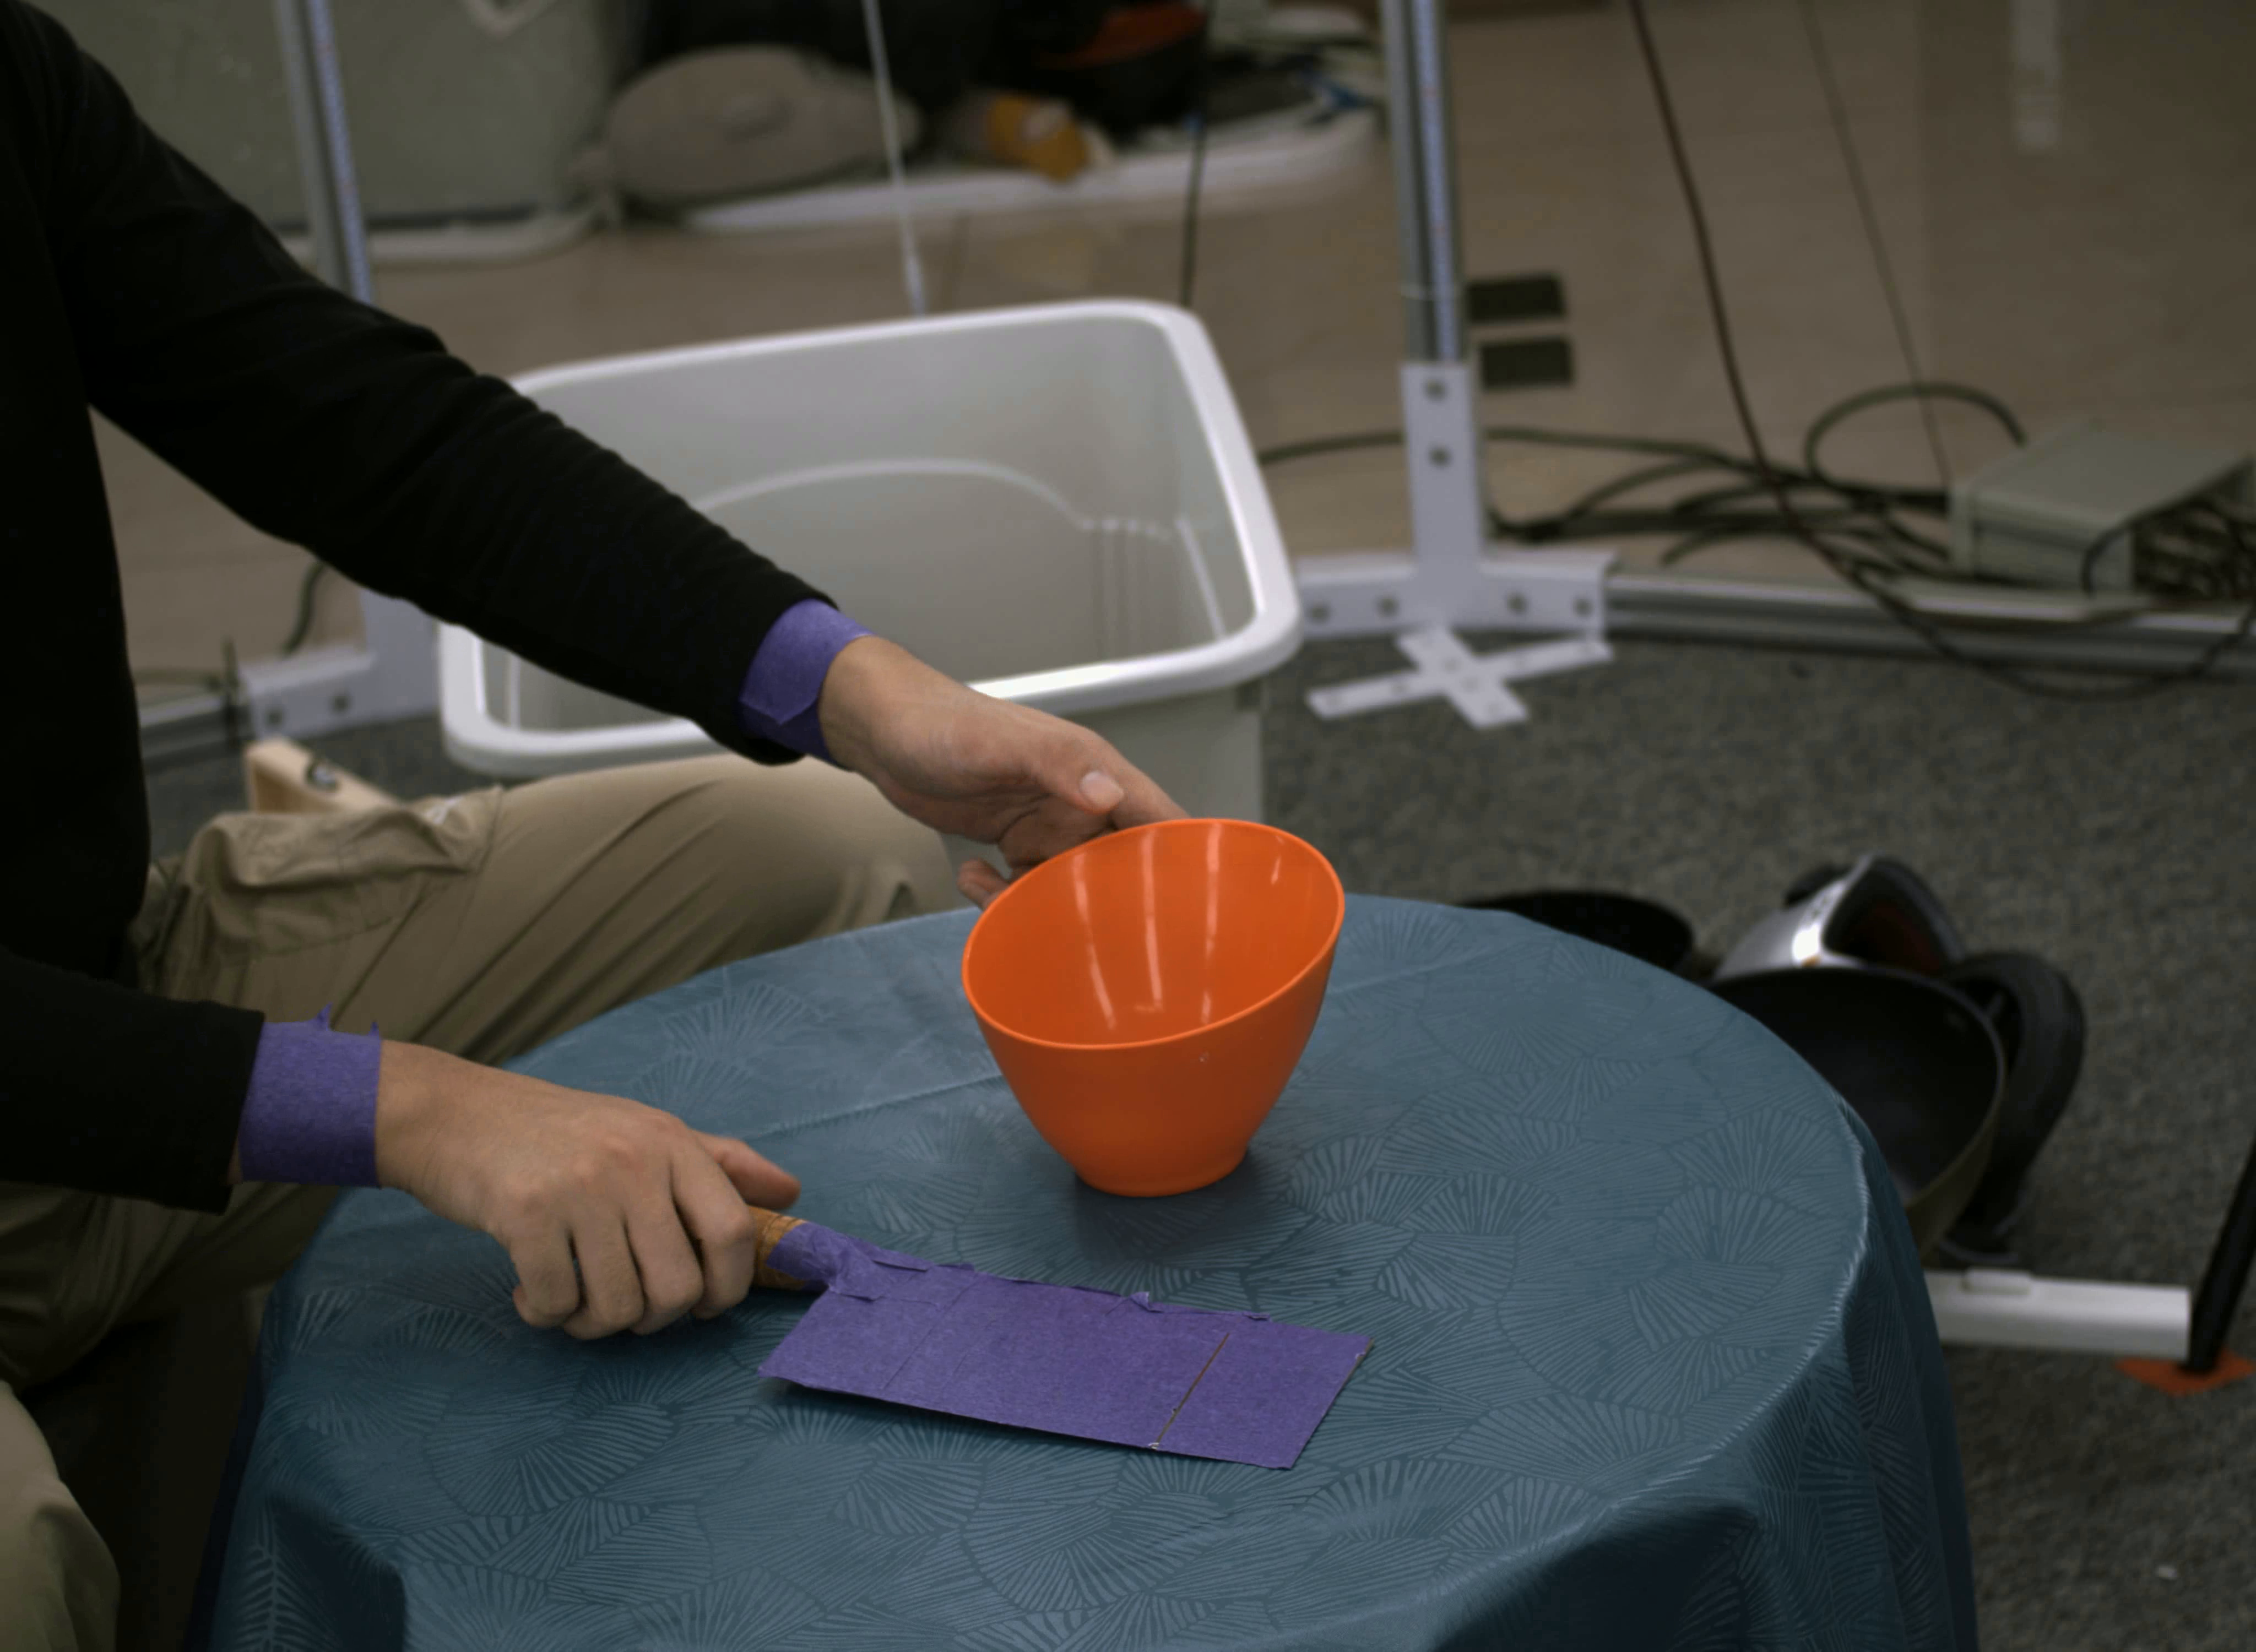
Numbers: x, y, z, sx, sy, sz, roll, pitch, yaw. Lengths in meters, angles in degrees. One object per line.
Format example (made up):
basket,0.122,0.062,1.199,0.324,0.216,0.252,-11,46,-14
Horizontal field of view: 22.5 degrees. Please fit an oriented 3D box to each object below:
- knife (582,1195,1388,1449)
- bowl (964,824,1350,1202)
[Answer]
knife,-0.068,0.178,2.050,0.314,0.033,0.102,5,27,22
bowl,0.014,0.078,2.158,0.148,0.106,0.146,-5,27,2
